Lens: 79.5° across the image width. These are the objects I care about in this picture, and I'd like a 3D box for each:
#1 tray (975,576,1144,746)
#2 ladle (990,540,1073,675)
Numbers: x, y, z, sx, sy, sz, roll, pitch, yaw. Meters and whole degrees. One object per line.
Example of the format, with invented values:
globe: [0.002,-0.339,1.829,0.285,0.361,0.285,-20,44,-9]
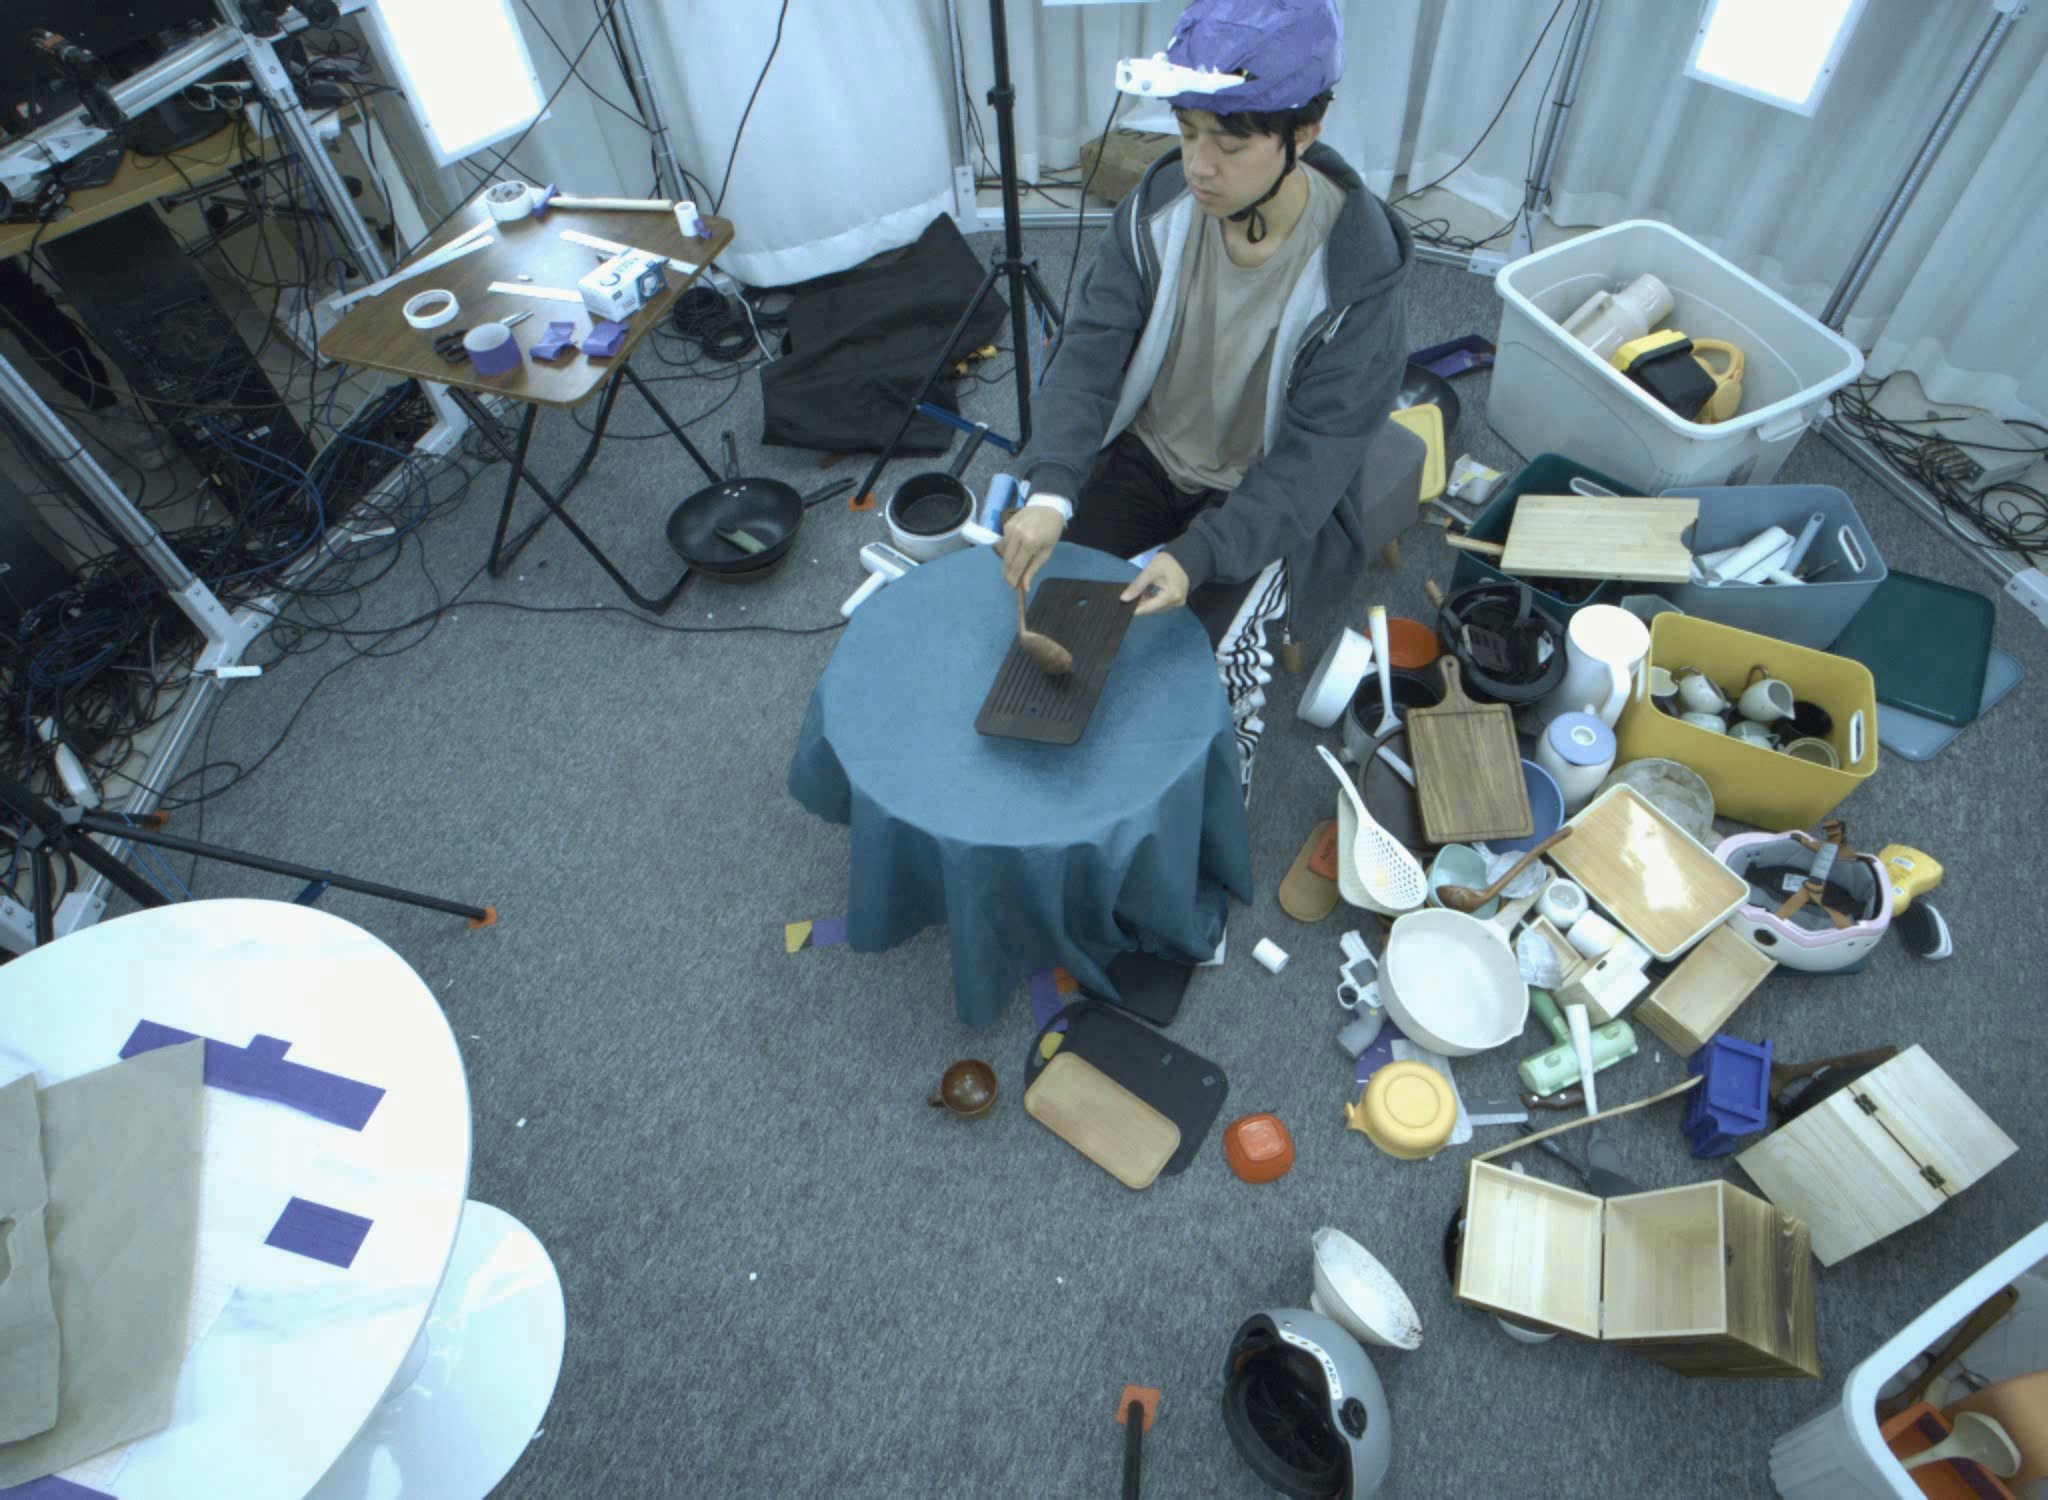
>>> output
tray: [0.056,-0.136,1.812,0.167,0.019,0.305,9,58,25]
ladle: [0.009,-0.217,1.807,0.065,0.077,0.256,-16,60,-1]
